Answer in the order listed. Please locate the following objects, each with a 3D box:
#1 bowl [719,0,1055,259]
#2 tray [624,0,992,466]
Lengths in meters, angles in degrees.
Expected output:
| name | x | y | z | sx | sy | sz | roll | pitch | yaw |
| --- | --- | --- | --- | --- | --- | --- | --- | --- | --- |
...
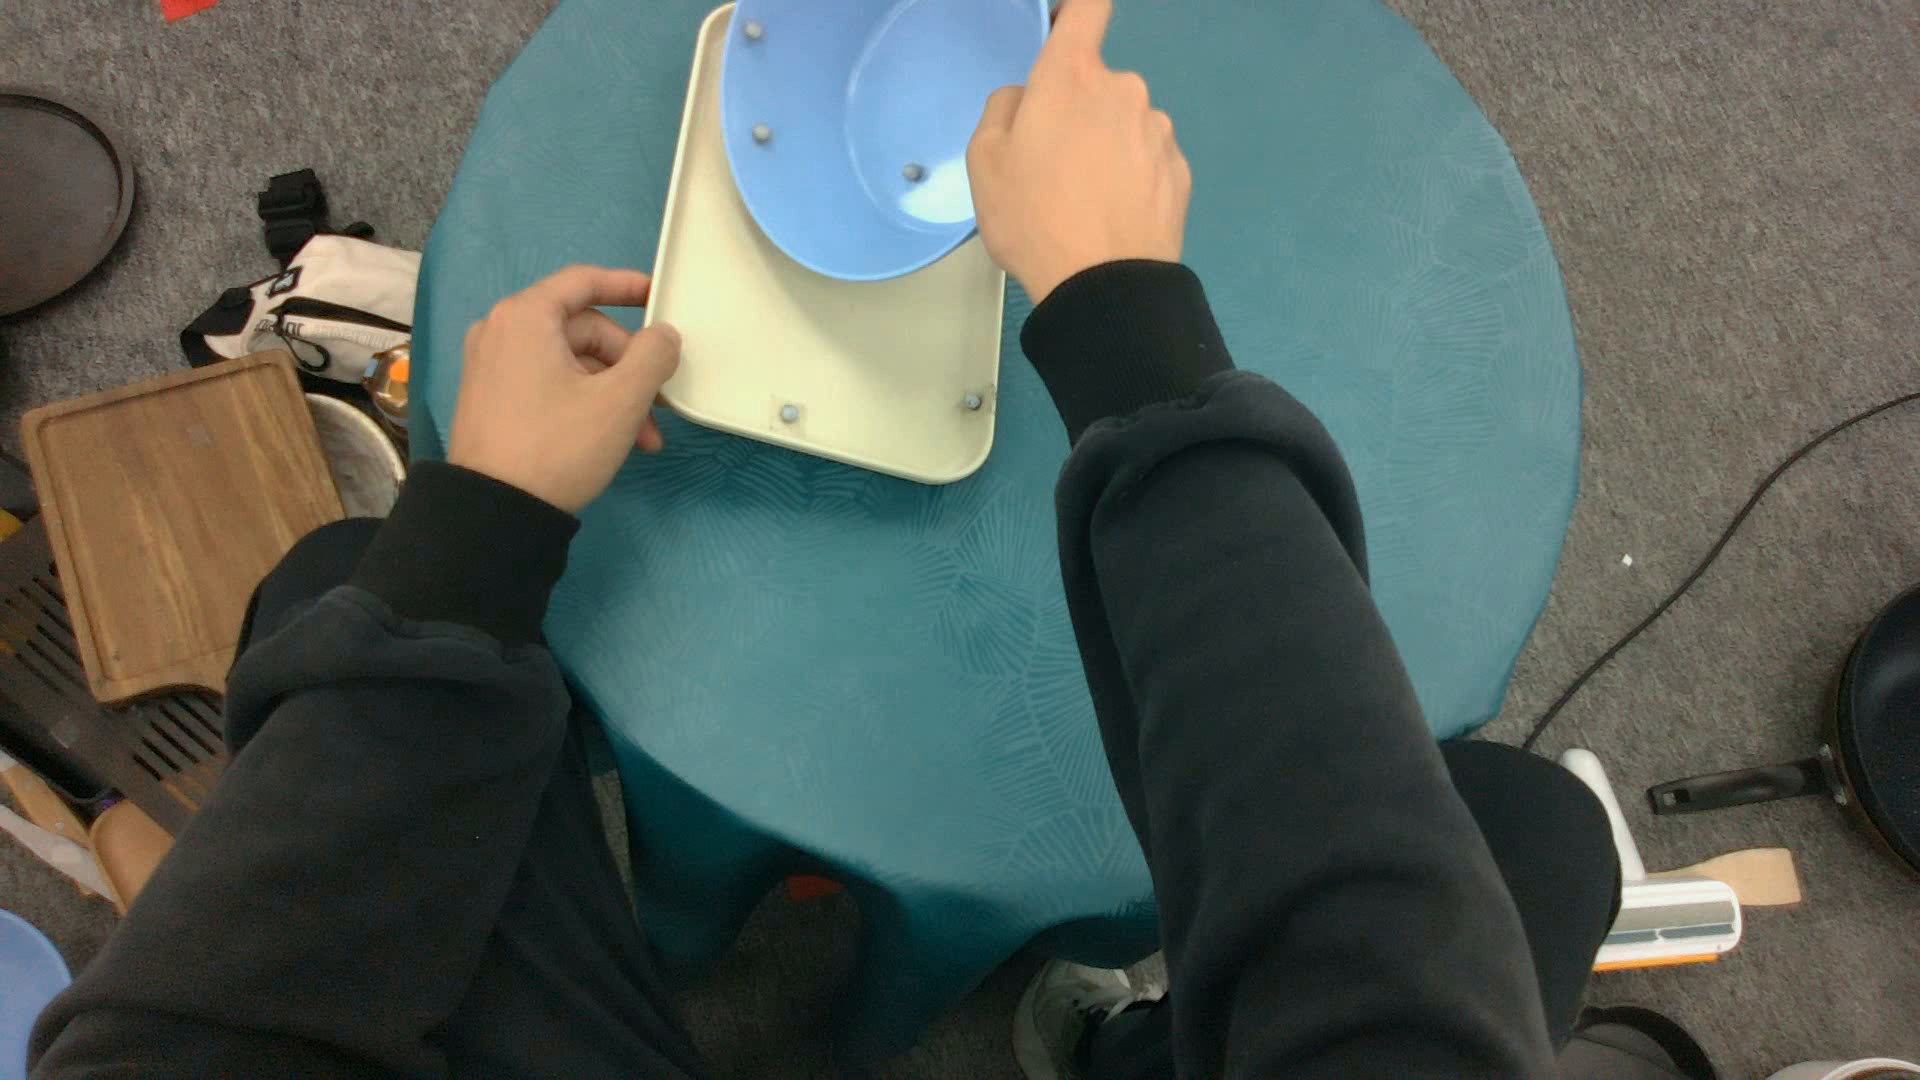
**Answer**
| name | x | y | z | sx | sy | sz | roll | pitch | yaw |
| --- | --- | --- | --- | --- | --- | --- | --- | --- | --- |
| bowl | -0.024 | -0.211 | 0.623 | 0.070 | 0.175 | 0.176 | -2 | 64 | -56 |
| tray | -0.066 | -0.154 | 0.672 | 0.171 | 0.017 | 0.240 | 13 | 64 | -19 |
